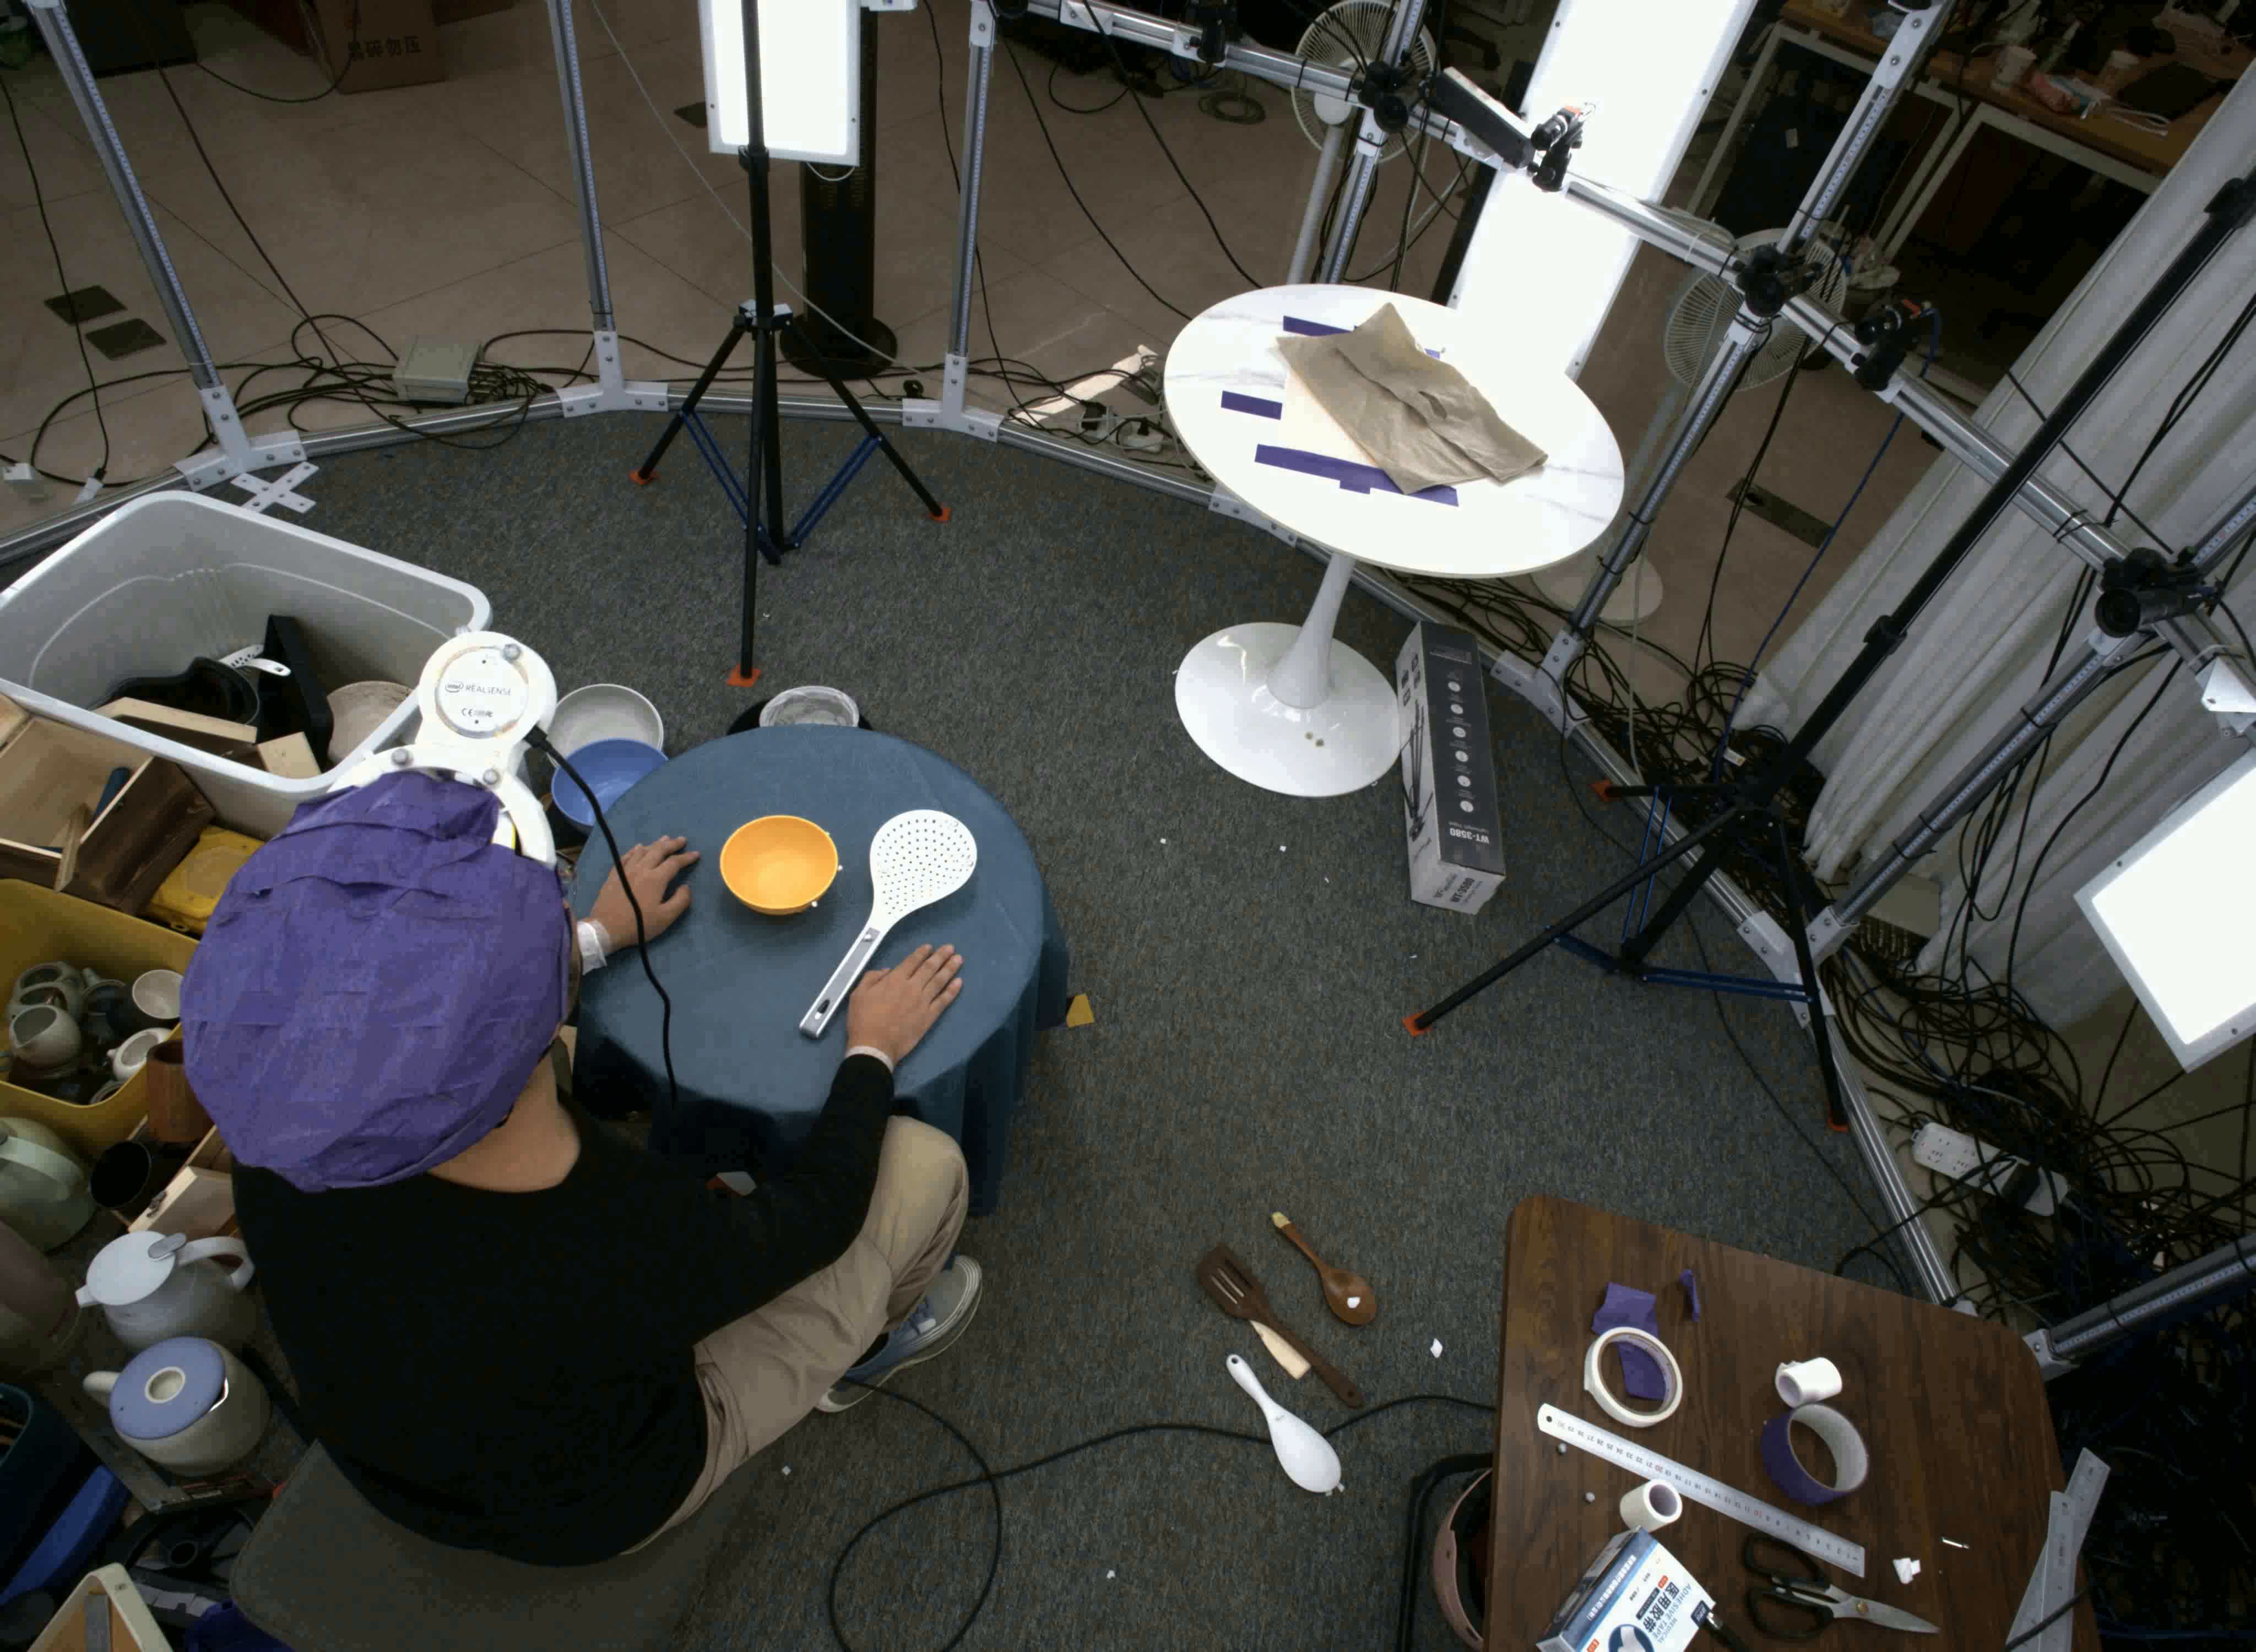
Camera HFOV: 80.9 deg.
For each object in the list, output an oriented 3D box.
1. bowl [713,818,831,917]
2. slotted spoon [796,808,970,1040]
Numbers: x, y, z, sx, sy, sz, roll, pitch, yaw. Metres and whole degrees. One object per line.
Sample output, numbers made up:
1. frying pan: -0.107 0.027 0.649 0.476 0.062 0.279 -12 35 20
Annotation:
1. bowl: -0.445 0.062 1.631 0.145 0.061 0.142 7 51 -7
2. slotted spoon: -0.315 0.117 1.630 0.134 0.046 0.347 24 53 5
